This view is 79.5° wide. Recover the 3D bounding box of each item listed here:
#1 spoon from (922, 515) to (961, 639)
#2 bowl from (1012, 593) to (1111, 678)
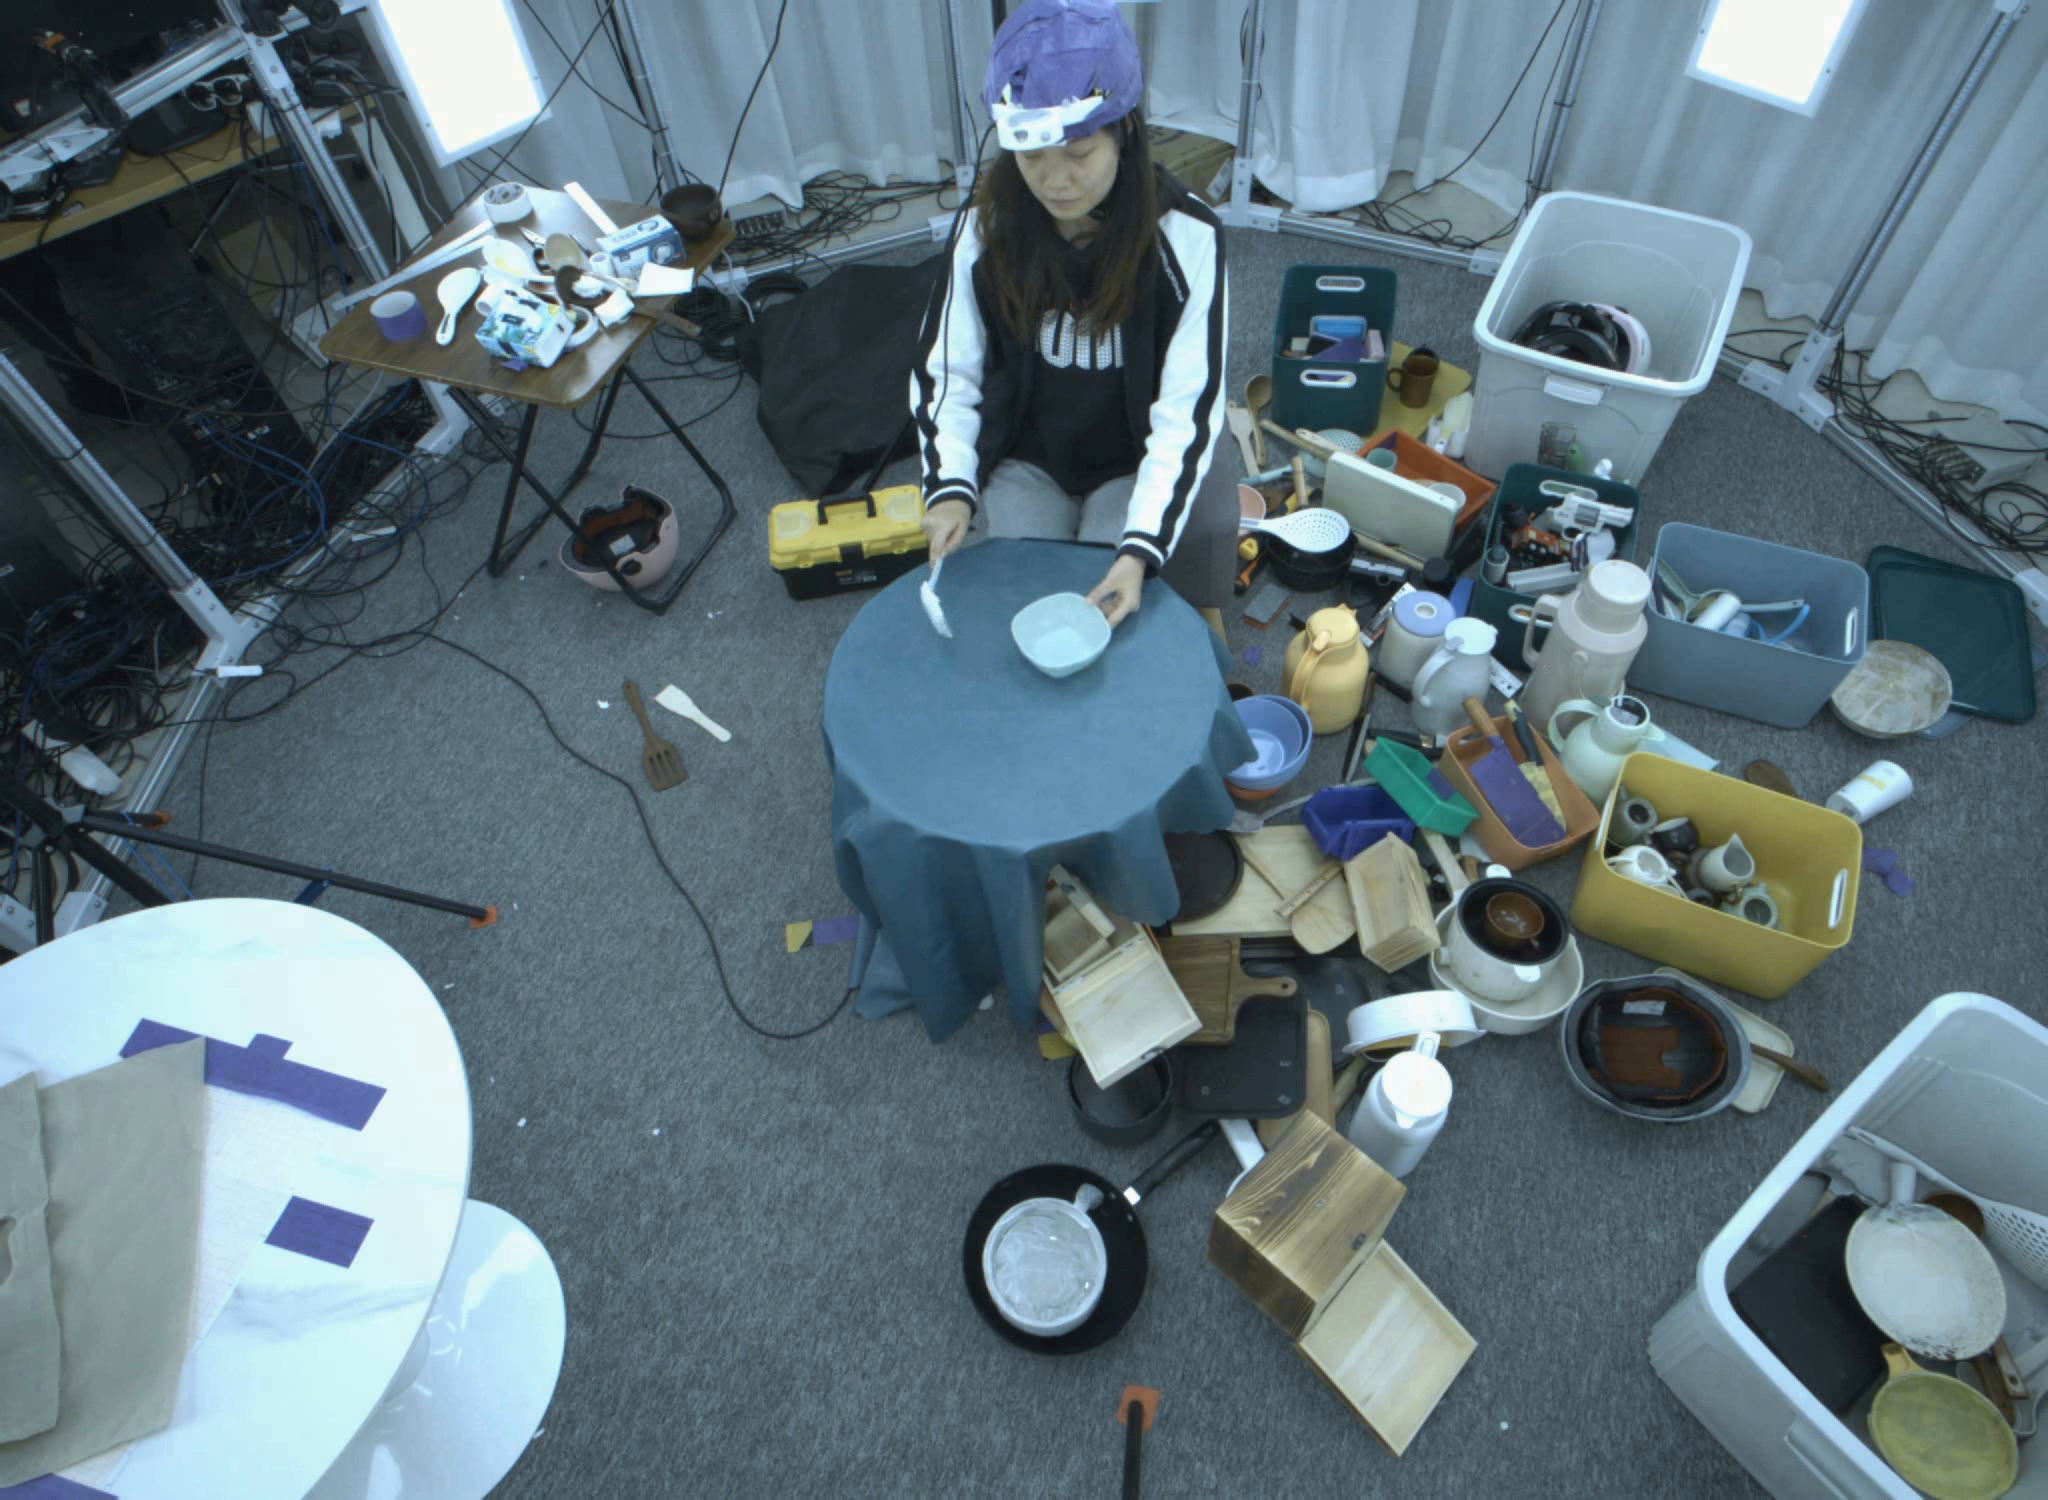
[{"bbox_3d":[-0.108,-0.277,1.888,0.059,0.102,0.276,1,46,15],"label":"spoon"},{"bbox_3d":[0.057,-0.165,1.870,0.151,0.059,0.150,0,55,2],"label":"bowl"}]
